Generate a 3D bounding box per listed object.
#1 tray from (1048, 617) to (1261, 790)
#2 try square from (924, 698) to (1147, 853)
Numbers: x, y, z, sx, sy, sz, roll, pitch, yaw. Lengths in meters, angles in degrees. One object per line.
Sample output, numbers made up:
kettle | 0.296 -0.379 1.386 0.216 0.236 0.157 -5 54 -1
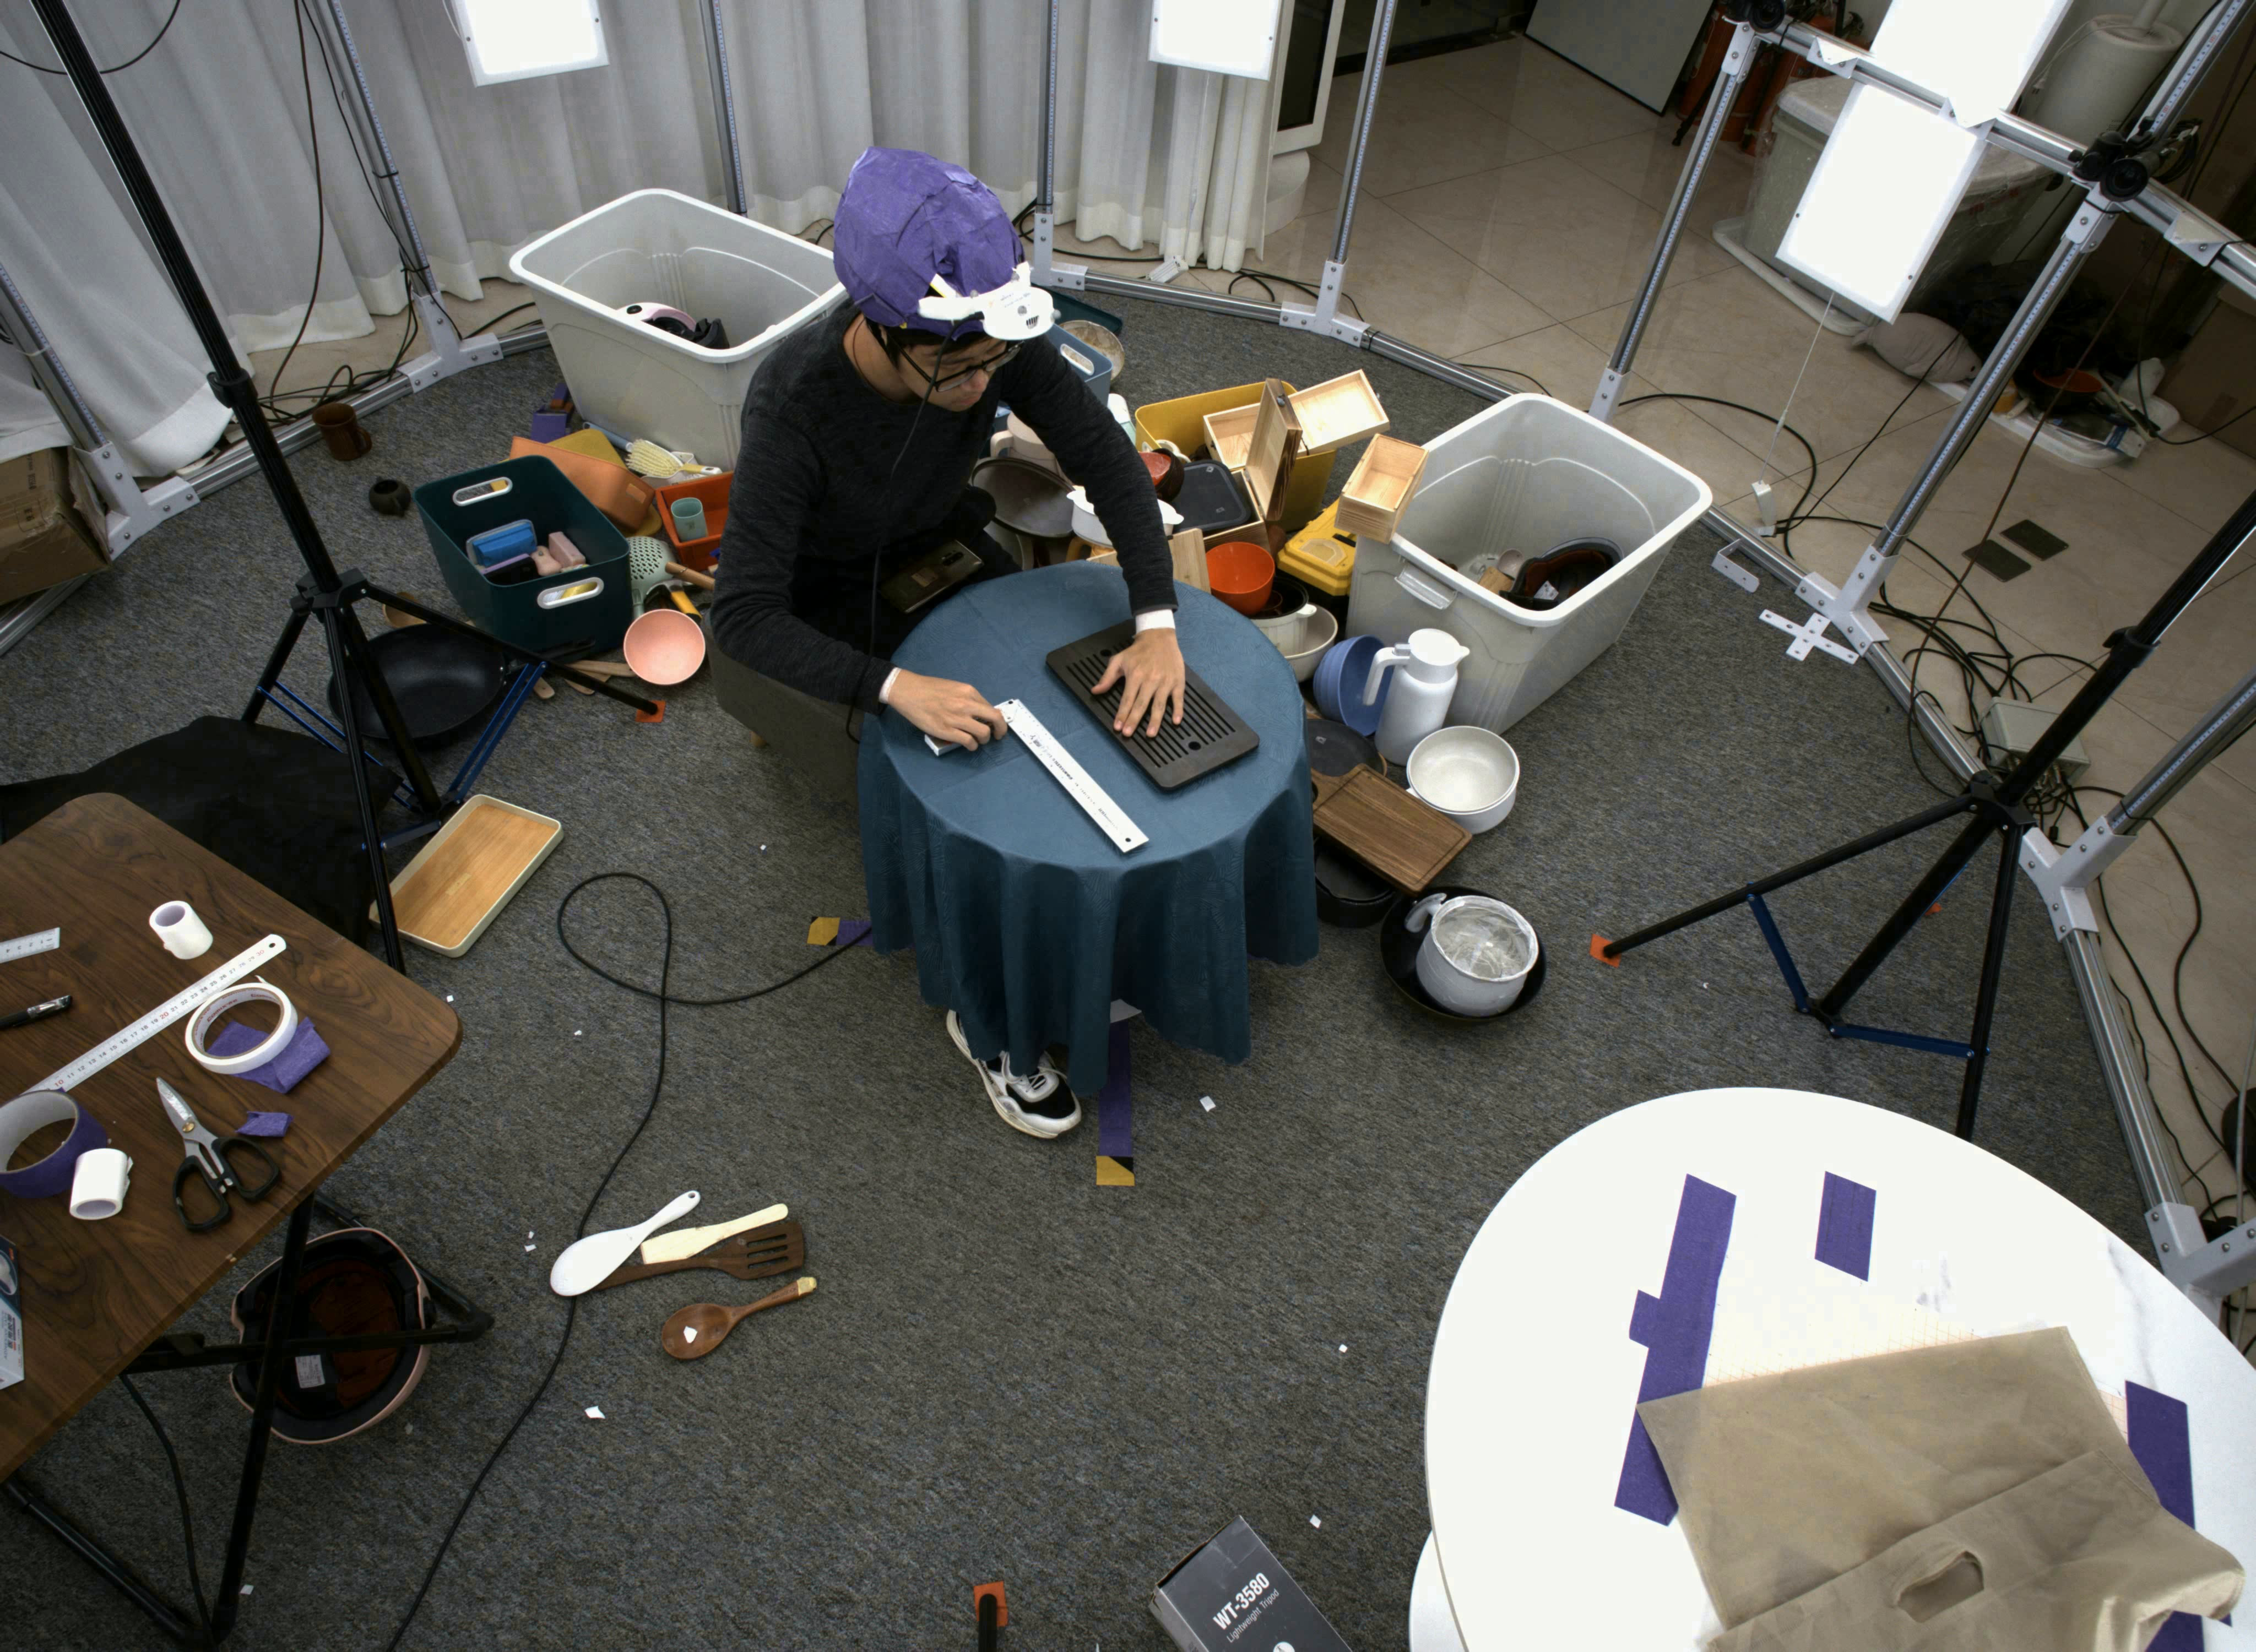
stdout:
tray | 0.033 -0.178 1.815 0.171 0.018 0.312 -26 55 -23
try square | -0.126 -0.054 1.691 0.153 0.015 0.319 -23 54 -28
